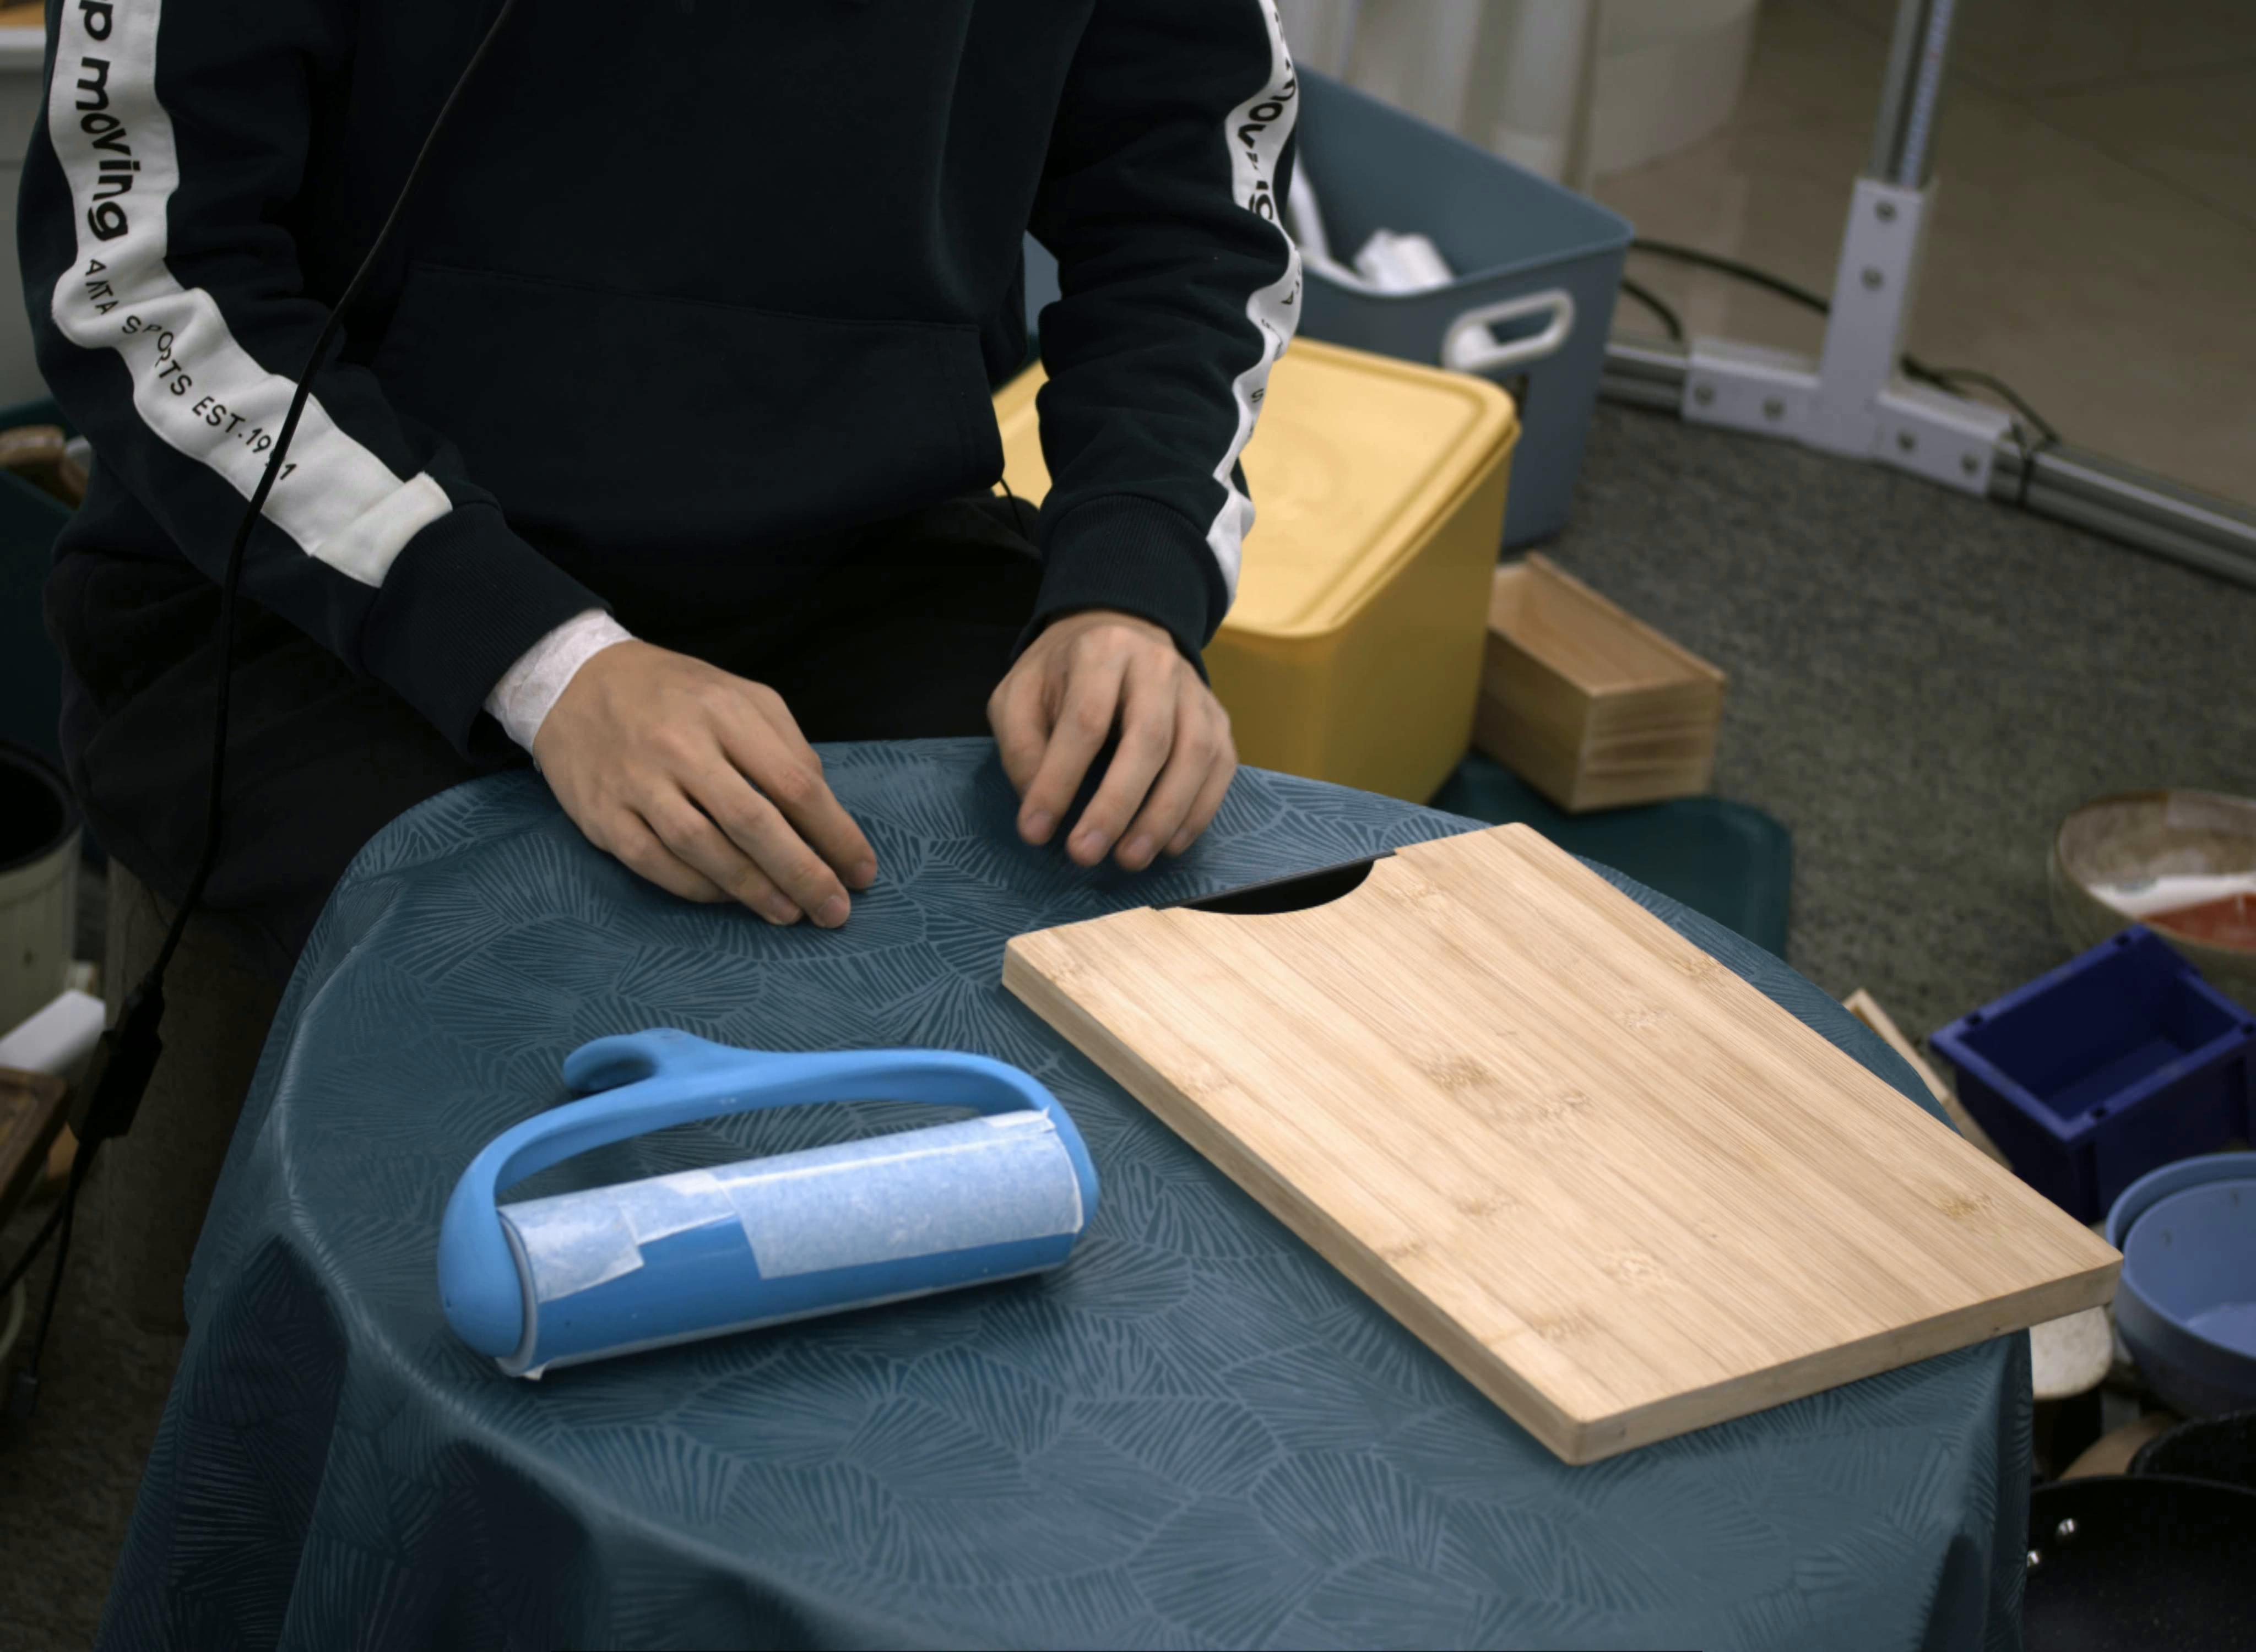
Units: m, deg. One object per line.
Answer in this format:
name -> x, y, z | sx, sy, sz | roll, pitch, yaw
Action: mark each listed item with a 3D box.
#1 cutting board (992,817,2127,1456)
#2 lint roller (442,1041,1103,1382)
cutting board -> 0.144, 0.100, 1.859 | 0.249, 0.023, 0.352 | -12, 32, -33
lint roller -> -0.141, 0.105, 1.740 | 0.227, 0.067, 0.182 | -12, 32, -29
